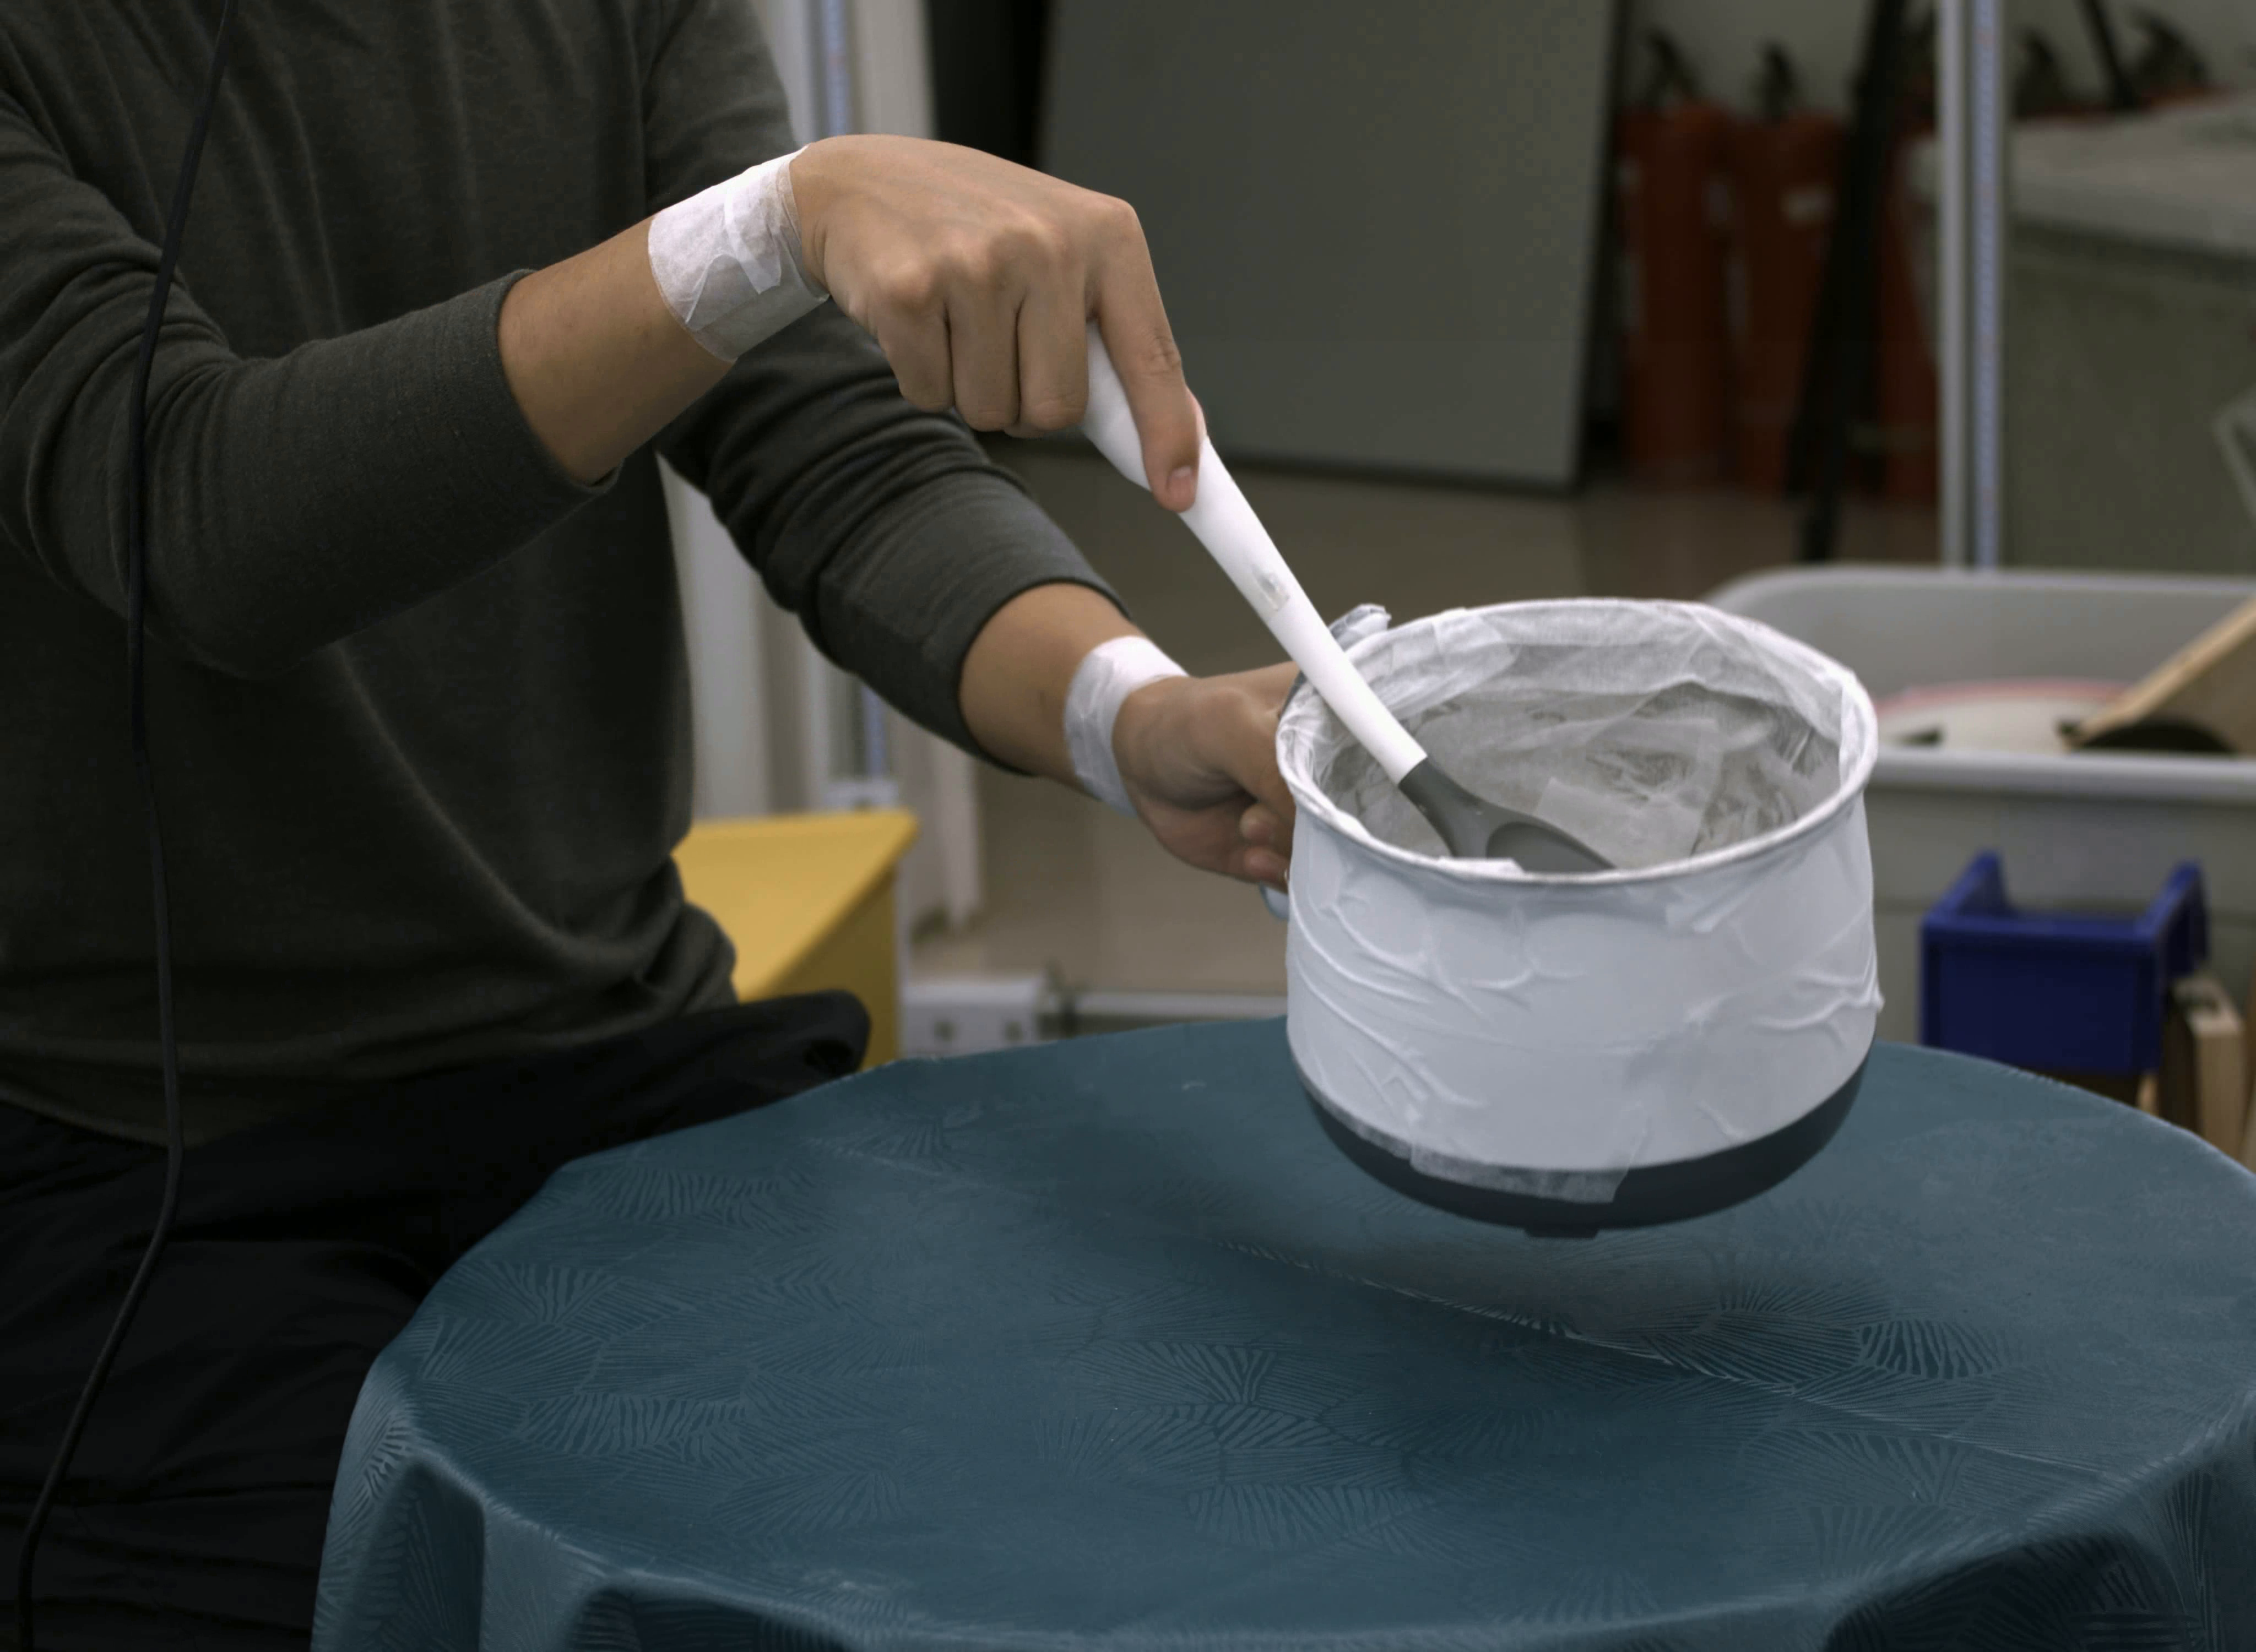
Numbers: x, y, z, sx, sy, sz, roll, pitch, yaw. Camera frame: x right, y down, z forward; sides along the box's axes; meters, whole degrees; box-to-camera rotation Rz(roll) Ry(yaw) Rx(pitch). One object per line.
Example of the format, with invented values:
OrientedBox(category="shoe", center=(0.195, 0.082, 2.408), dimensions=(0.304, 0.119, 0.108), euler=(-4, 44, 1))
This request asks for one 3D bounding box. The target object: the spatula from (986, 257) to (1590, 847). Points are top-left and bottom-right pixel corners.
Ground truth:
OrientedBox(category="spatula", center=(0.063, -0.052, 1.595), dimensions=(0.058, 0.289, 0.032), euler=(-33, -11, -49))

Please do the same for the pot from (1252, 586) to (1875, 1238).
OrientedBox(category="pot", center=(0.115, 0.016, 1.610), dimensions=(0.175, 0.138, 0.236), euler=(-21, 32, -30))
